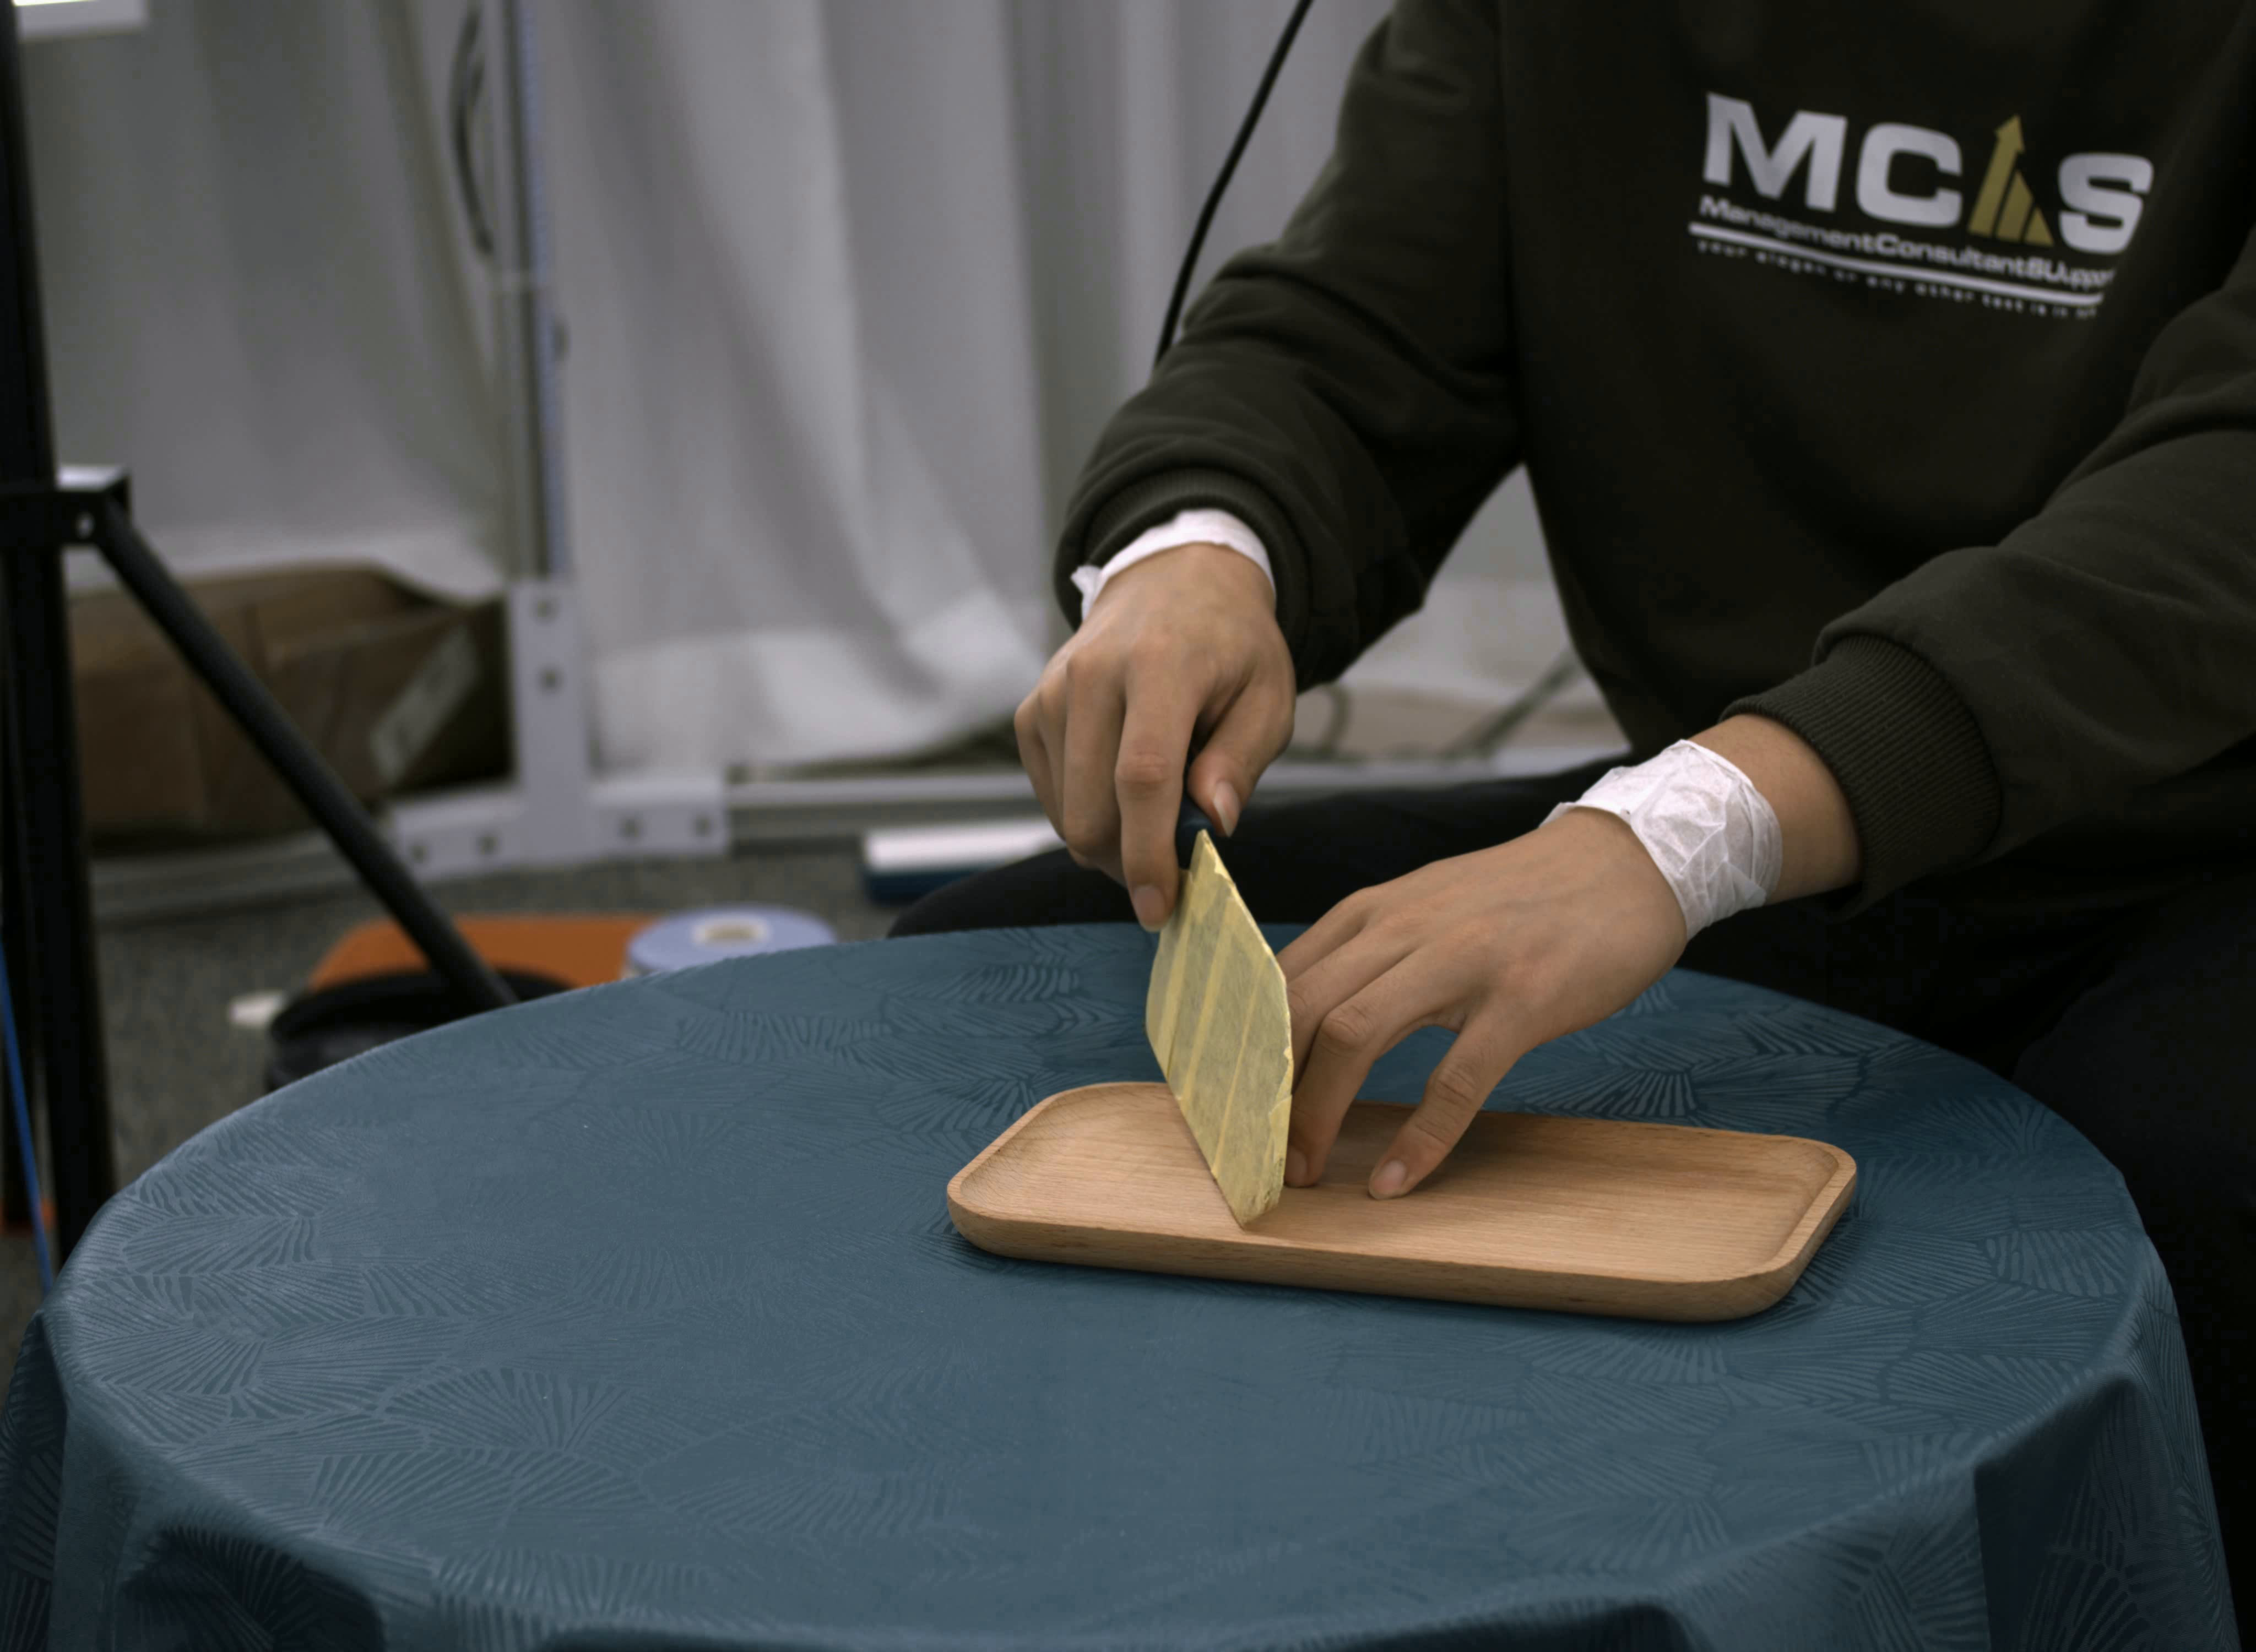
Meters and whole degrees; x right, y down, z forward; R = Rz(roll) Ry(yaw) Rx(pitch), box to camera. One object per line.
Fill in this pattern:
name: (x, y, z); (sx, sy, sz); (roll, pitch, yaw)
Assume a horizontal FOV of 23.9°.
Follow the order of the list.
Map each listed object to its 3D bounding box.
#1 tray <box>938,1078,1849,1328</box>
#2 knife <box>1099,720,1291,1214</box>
tray: (0.076, 0.107, 1.522); (0.254, 0.023, 0.129); (4, 14, 22)
knife: (0.019, 0.038, 1.610); (0.027, 0.081, 0.293); (11, 21, -13)
